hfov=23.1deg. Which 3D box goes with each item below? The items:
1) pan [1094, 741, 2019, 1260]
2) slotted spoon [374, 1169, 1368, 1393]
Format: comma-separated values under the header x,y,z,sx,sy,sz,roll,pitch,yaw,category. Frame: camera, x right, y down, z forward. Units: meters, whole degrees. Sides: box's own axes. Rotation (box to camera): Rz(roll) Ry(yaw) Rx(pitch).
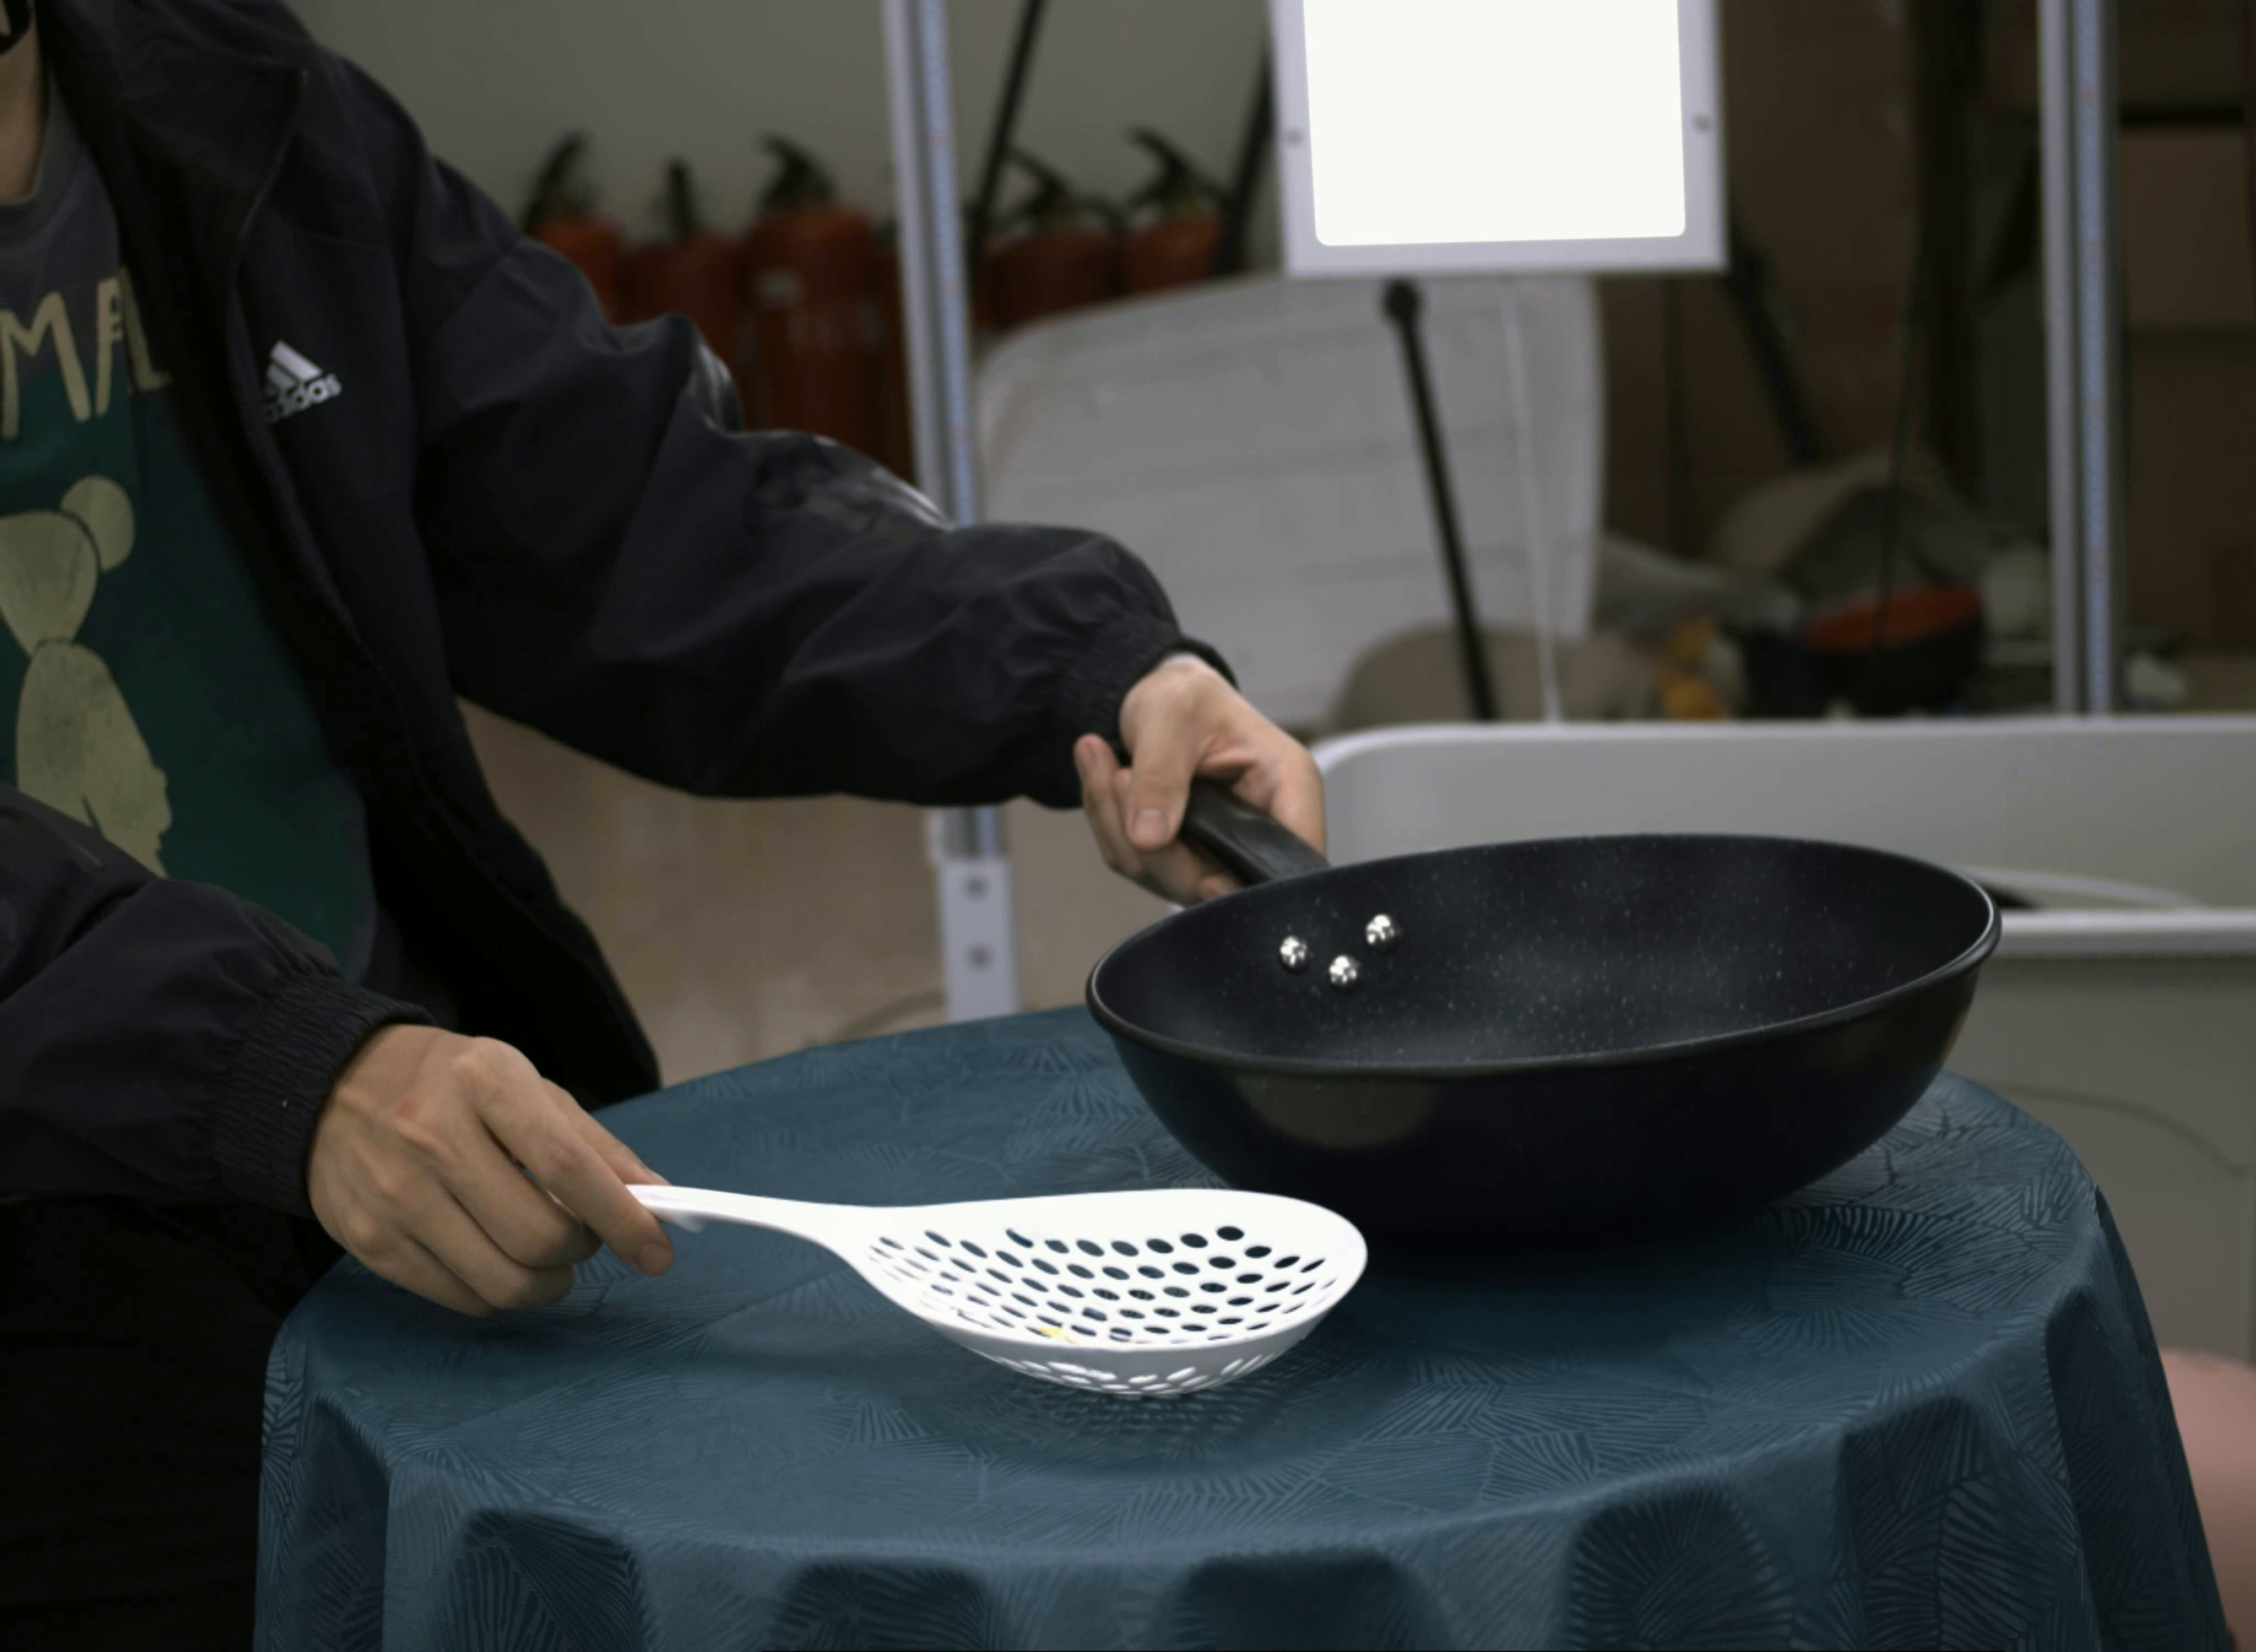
x,y,z,sx,sy,sz,roll,pitch,yaw,category
0.108,0.058,1.919,0.304,0.112,0.485,-11,13,-25,pan
-0.090,0.137,1.757,0.354,0.050,0.134,8,22,27,slotted spoon
